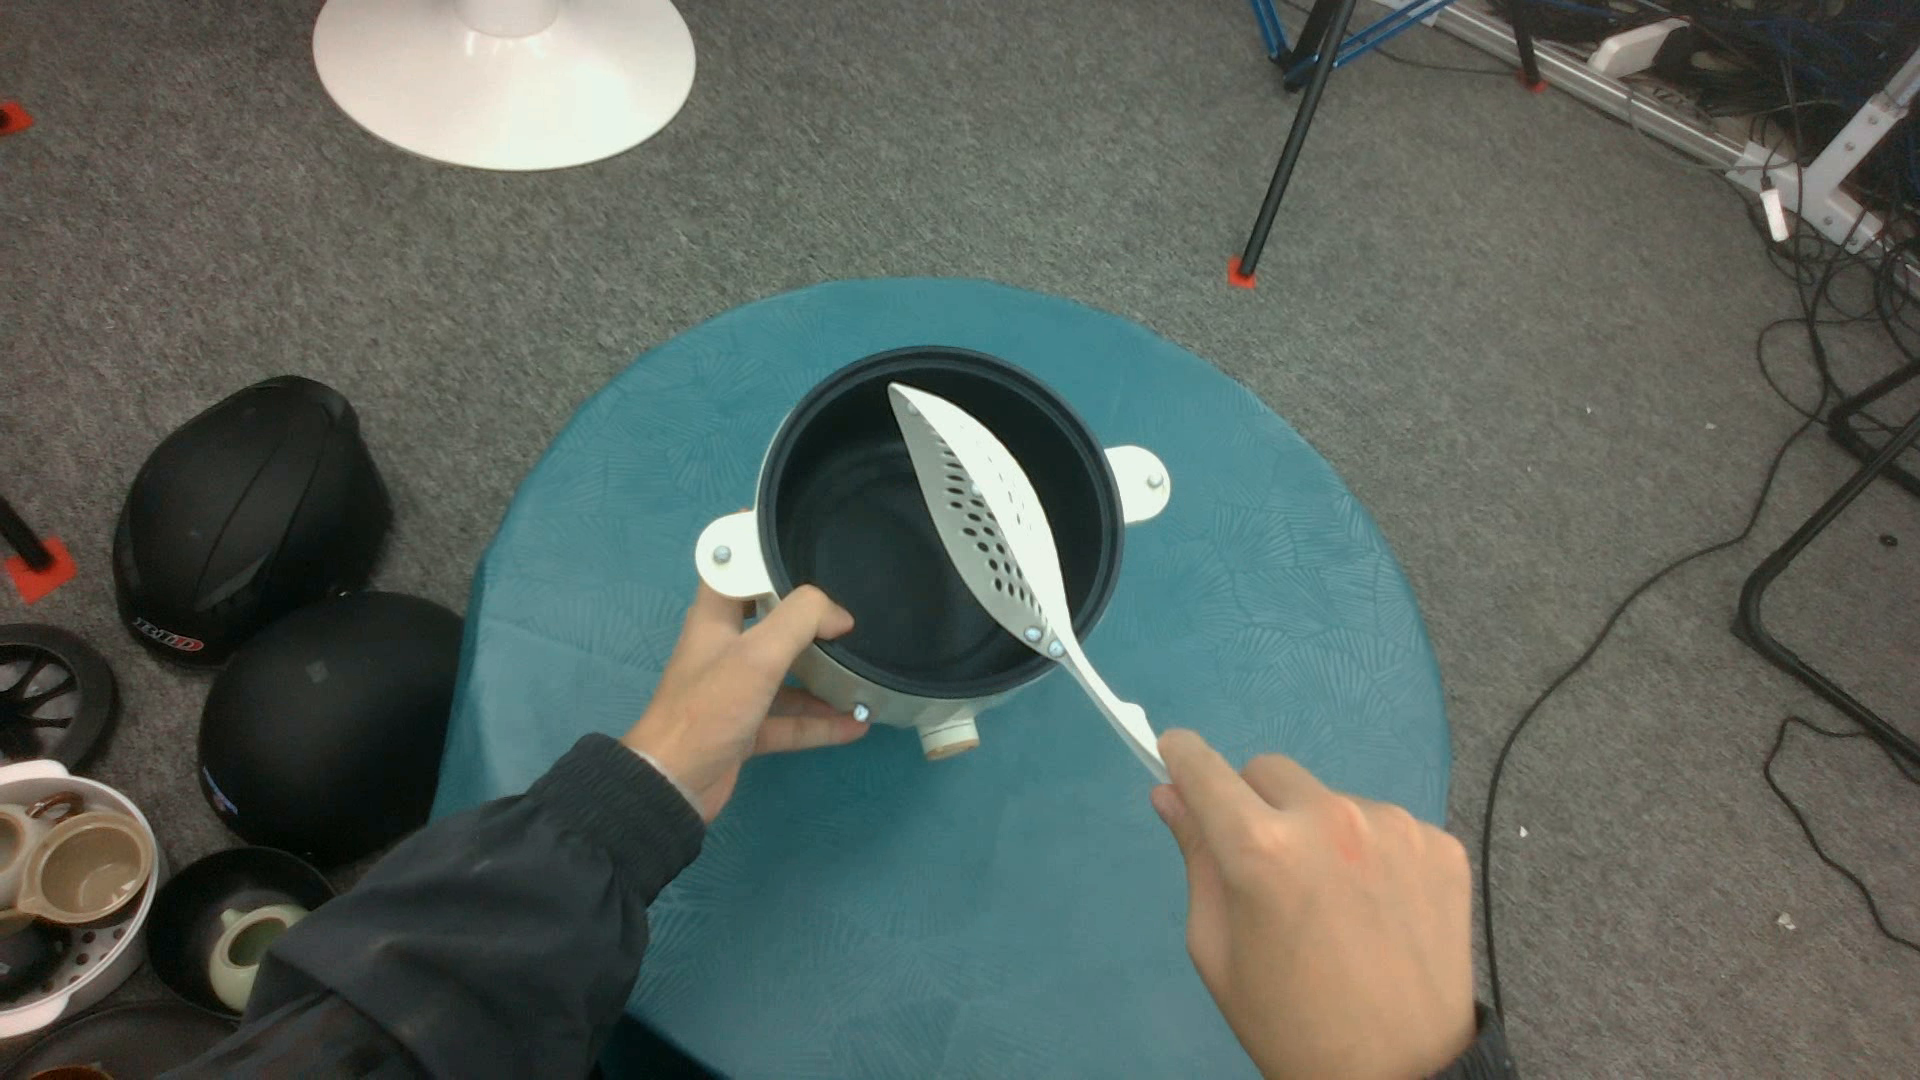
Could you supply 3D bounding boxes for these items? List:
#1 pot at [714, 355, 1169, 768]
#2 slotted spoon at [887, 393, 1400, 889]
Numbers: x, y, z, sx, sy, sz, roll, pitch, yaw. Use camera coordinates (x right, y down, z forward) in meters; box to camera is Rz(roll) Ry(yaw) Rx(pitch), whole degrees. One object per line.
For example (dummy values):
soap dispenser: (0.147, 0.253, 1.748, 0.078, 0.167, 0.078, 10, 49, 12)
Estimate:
pot: (-0.012, 0.018, 0.736, 0.241, 0.142, 0.191, -15, 70, -15)
slotted spoon: (0.059, 0.040, 0.596, 0.050, 0.136, 0.348, -25, 40, -10)
